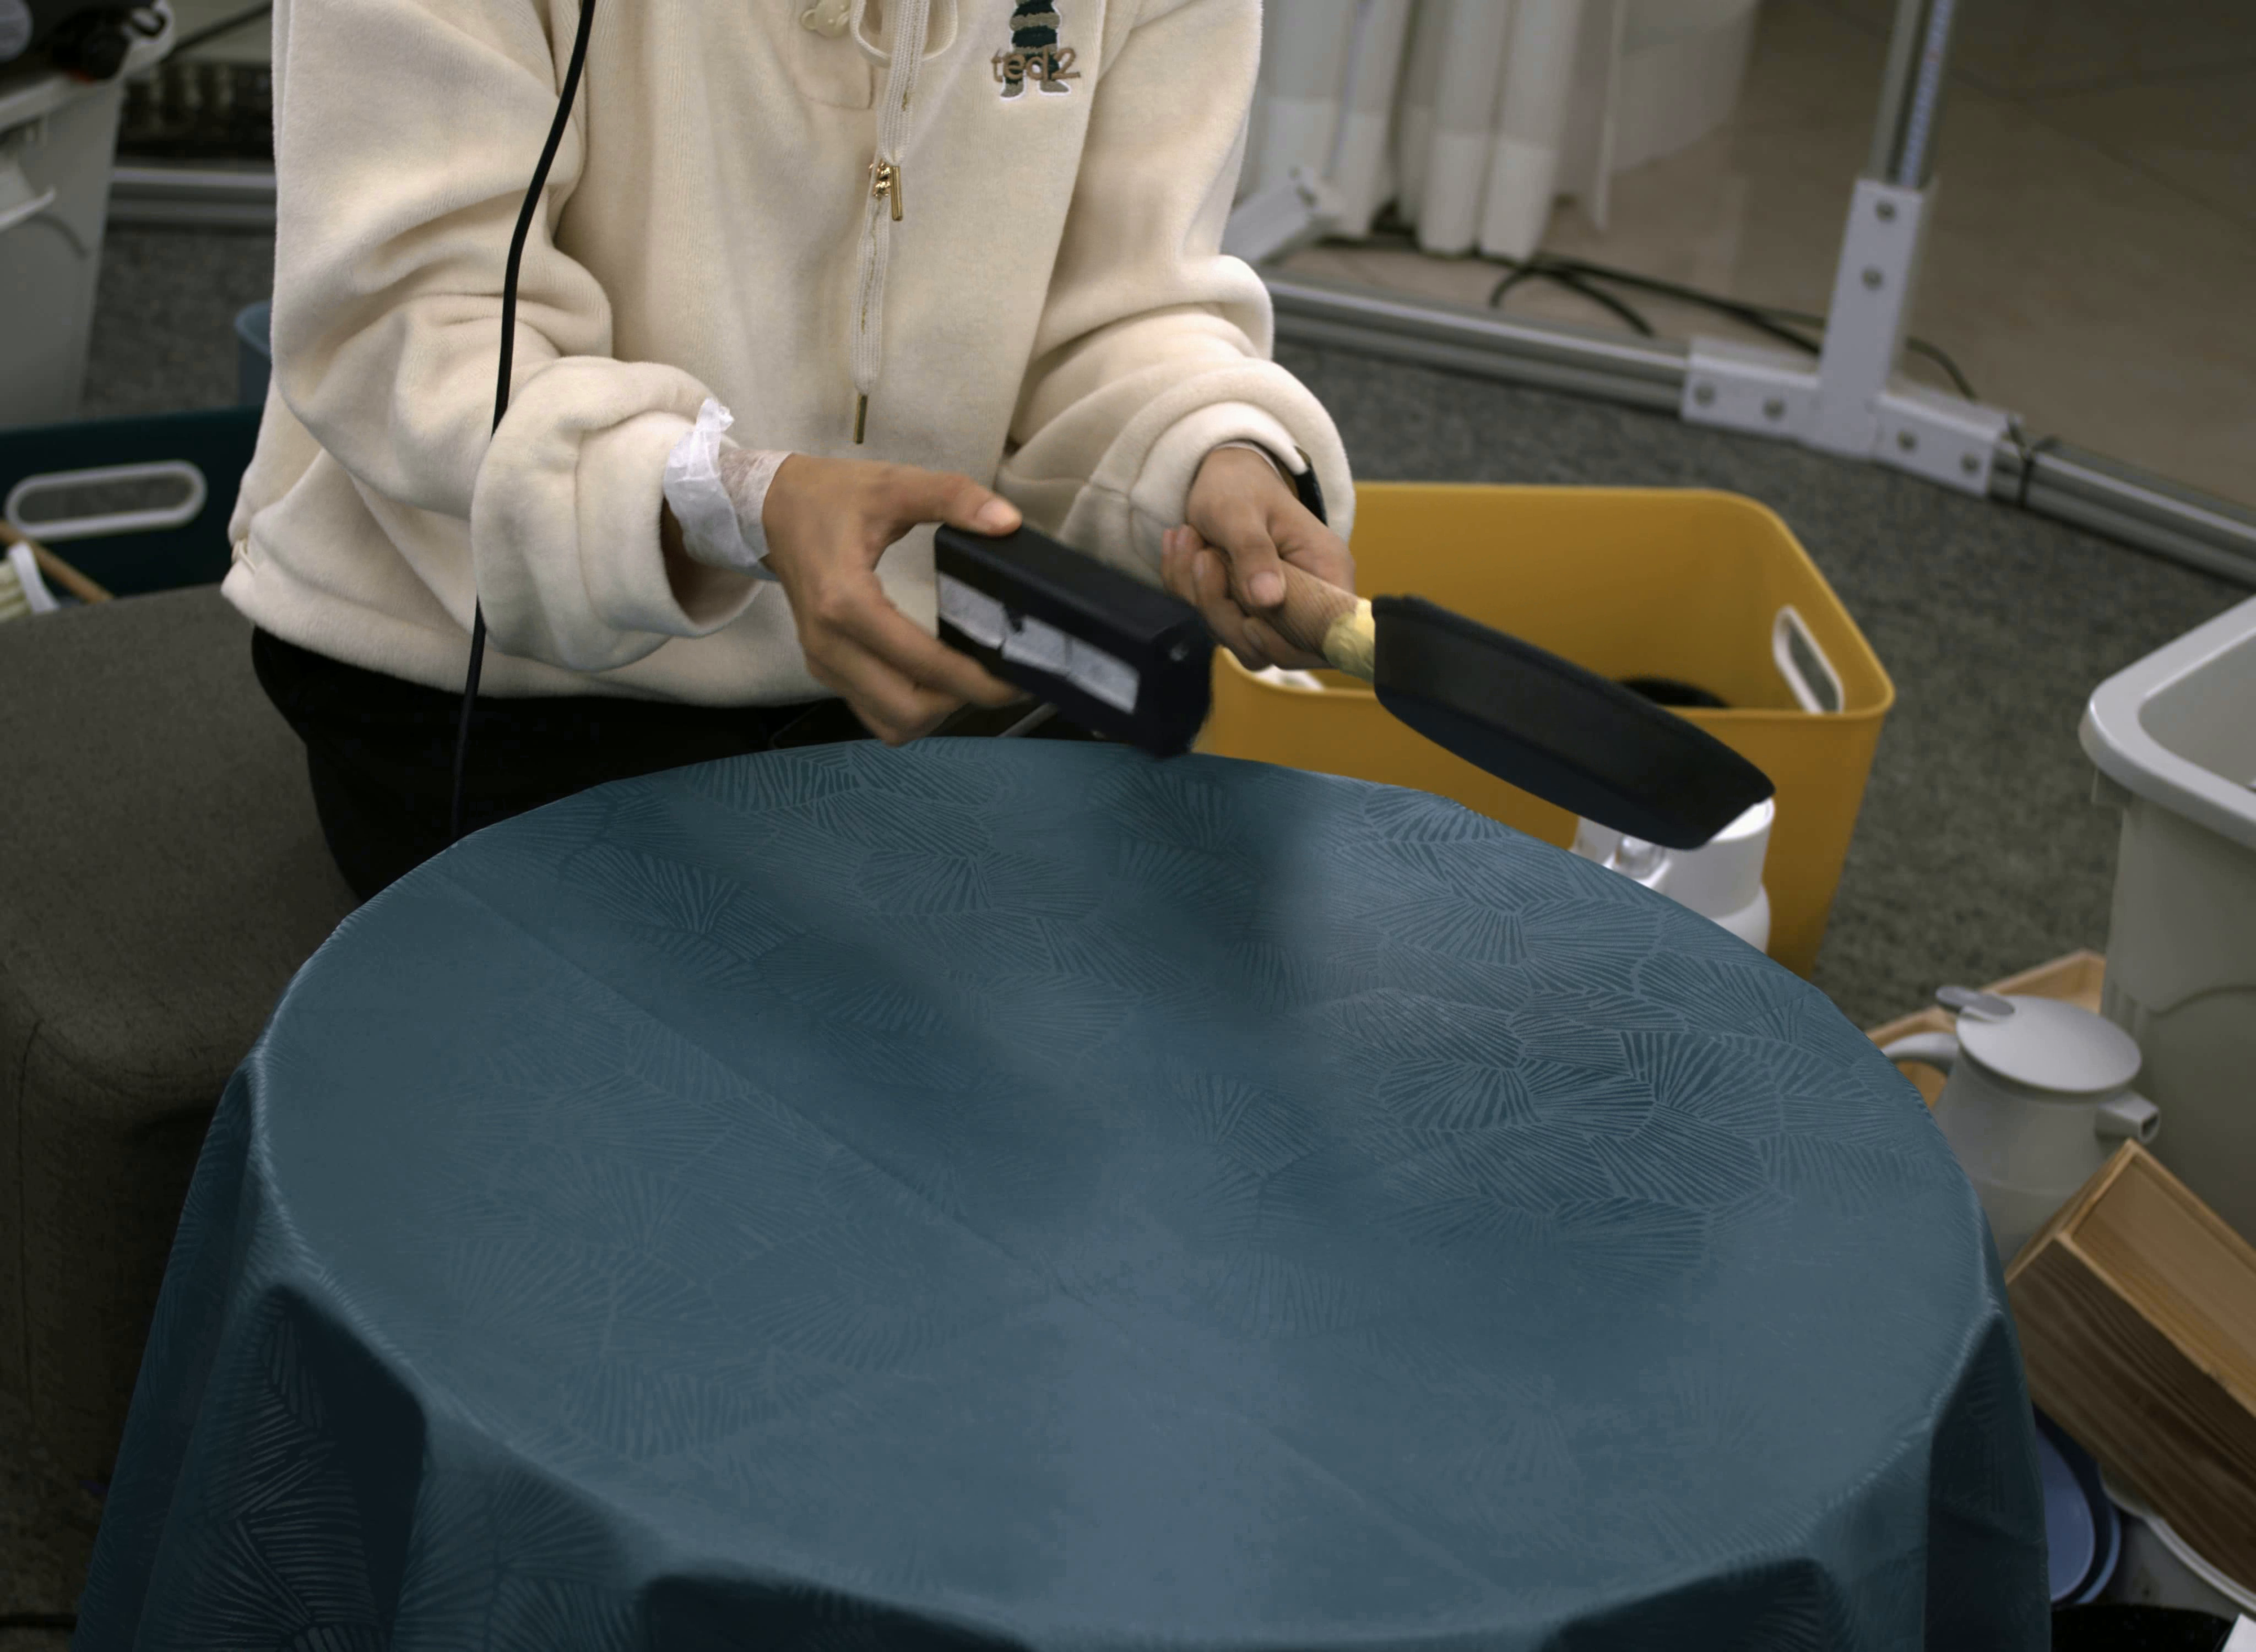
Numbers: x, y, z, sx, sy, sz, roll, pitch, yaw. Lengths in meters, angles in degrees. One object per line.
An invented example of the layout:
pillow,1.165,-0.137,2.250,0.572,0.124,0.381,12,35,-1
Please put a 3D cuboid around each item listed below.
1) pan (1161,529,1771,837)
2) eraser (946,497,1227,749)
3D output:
pan,0.106,-0.061,1.949,0.167,0.049,0.326,30,-5,-35
eraser,-0.015,-0.073,1.886,0.030,0.053,0.126,-22,34,-35
